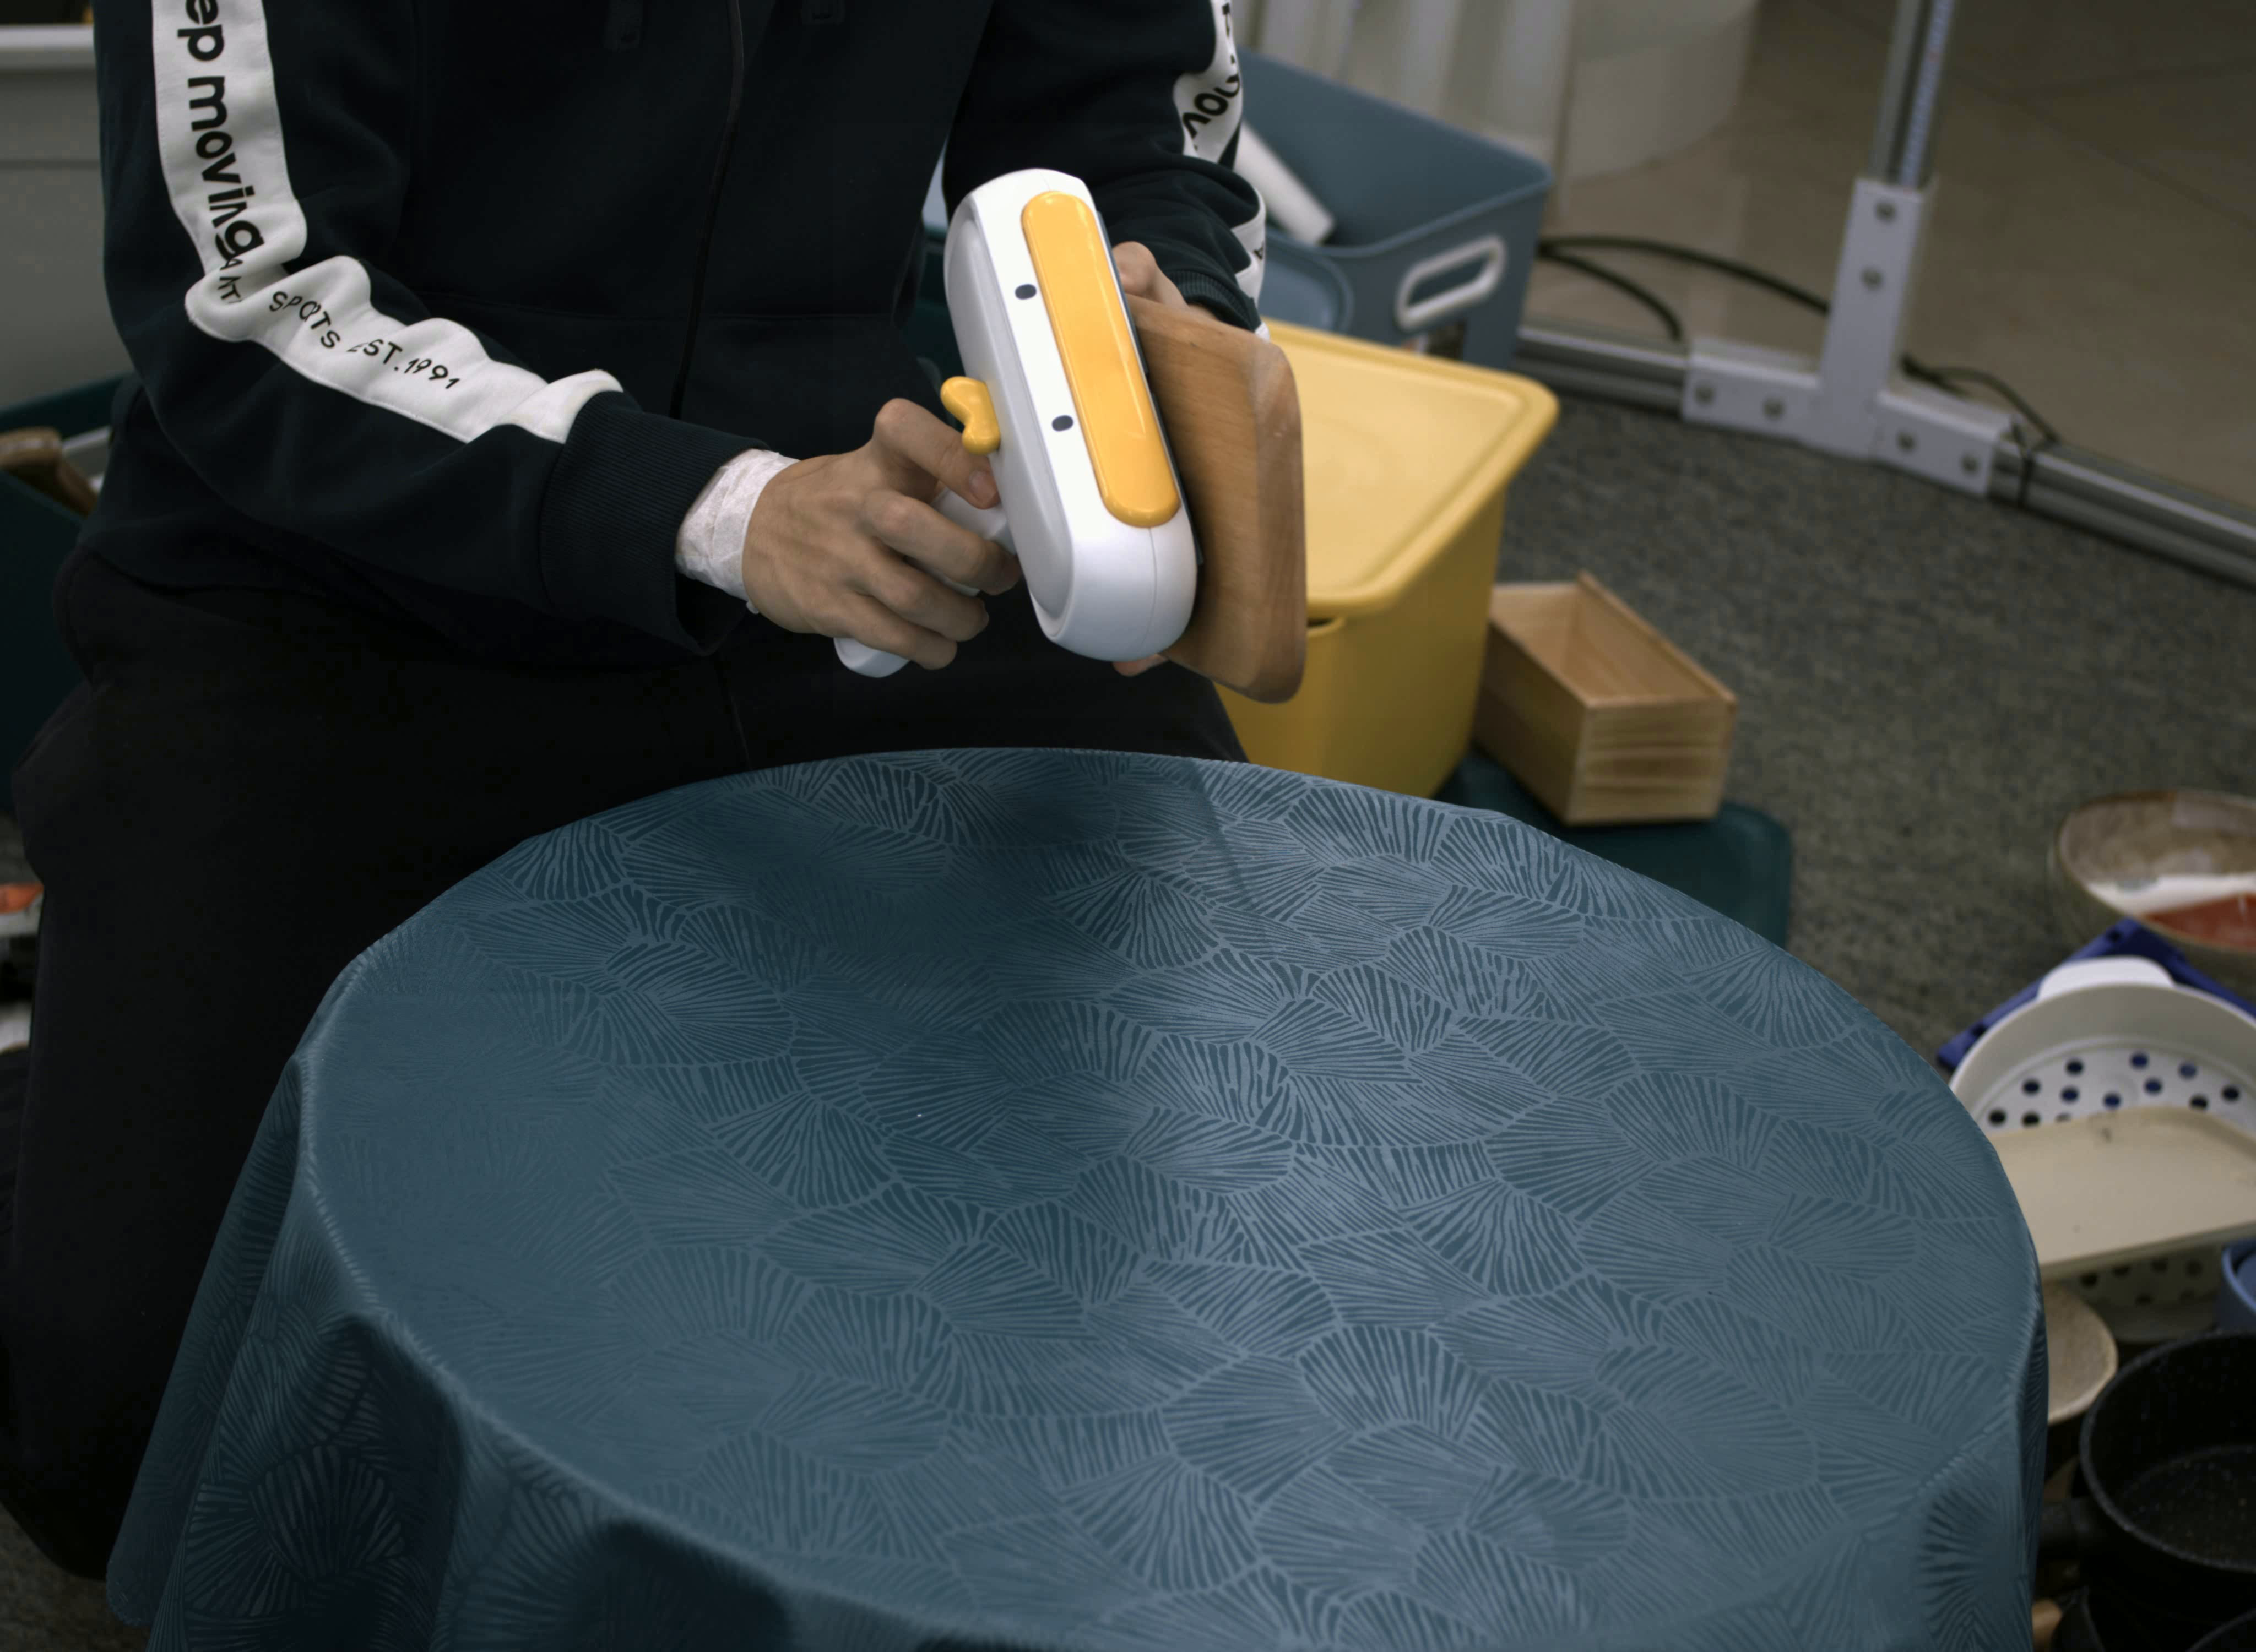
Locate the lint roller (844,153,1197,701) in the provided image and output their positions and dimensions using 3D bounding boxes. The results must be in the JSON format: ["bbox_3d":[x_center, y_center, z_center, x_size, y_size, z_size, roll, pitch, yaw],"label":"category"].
[{"bbox_3d":[-0.049,-0.117,1.925,0.073,0.192,0.194,-6,55,-28],"label":"lint roller"}]

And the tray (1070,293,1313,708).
[{"bbox_3d":[0.014,-0.120,1.903,0.023,0.130,0.252,-4,10,-19],"label":"tray"}]
